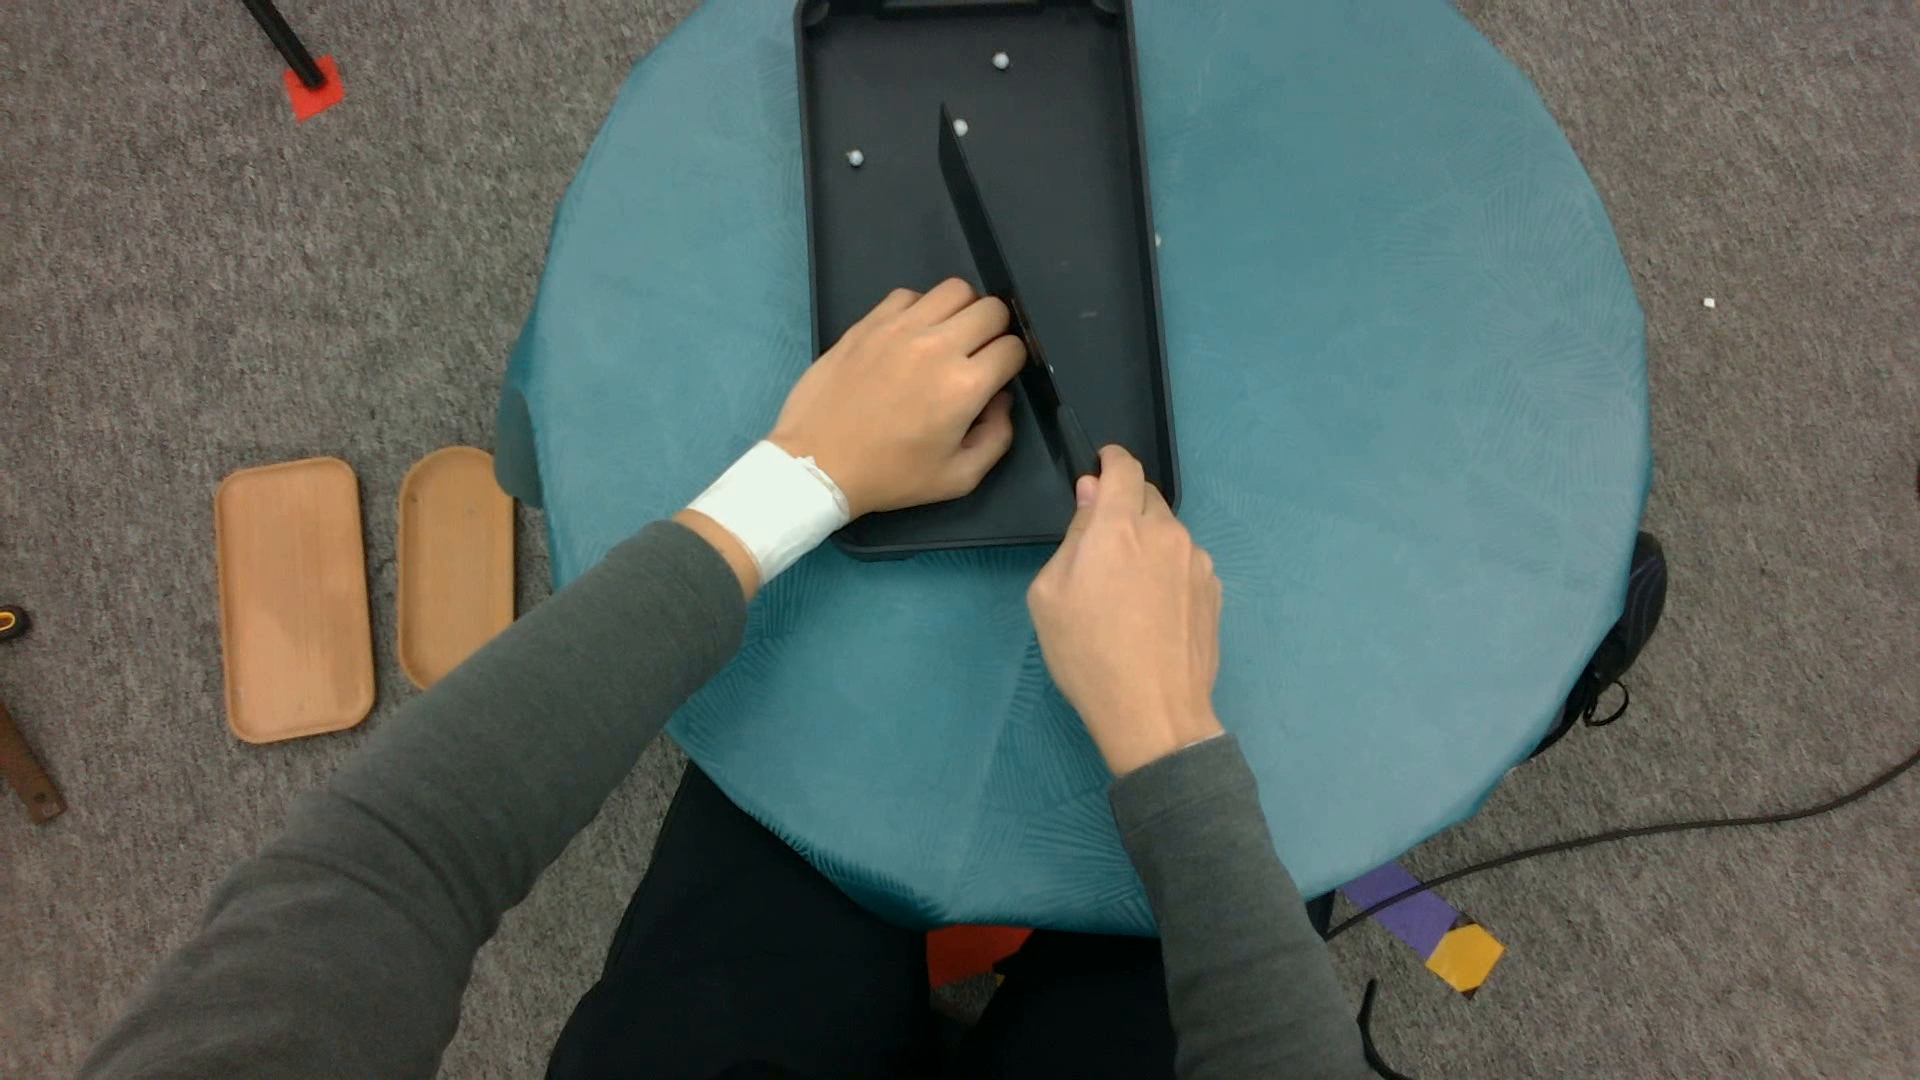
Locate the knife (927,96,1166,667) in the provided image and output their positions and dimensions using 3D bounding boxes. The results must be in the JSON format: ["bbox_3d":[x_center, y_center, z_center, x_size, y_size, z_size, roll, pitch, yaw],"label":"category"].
[{"bbox_3d":[0.036,-0.080,0.679,0.021,0.080,0.303,-19,73,-7],"label":"knife"}]

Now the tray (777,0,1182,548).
[{"bbox_3d":[0.005,-0.157,0.731,0.184,0.037,0.318,-5,76,-4],"label":"tray"}]
